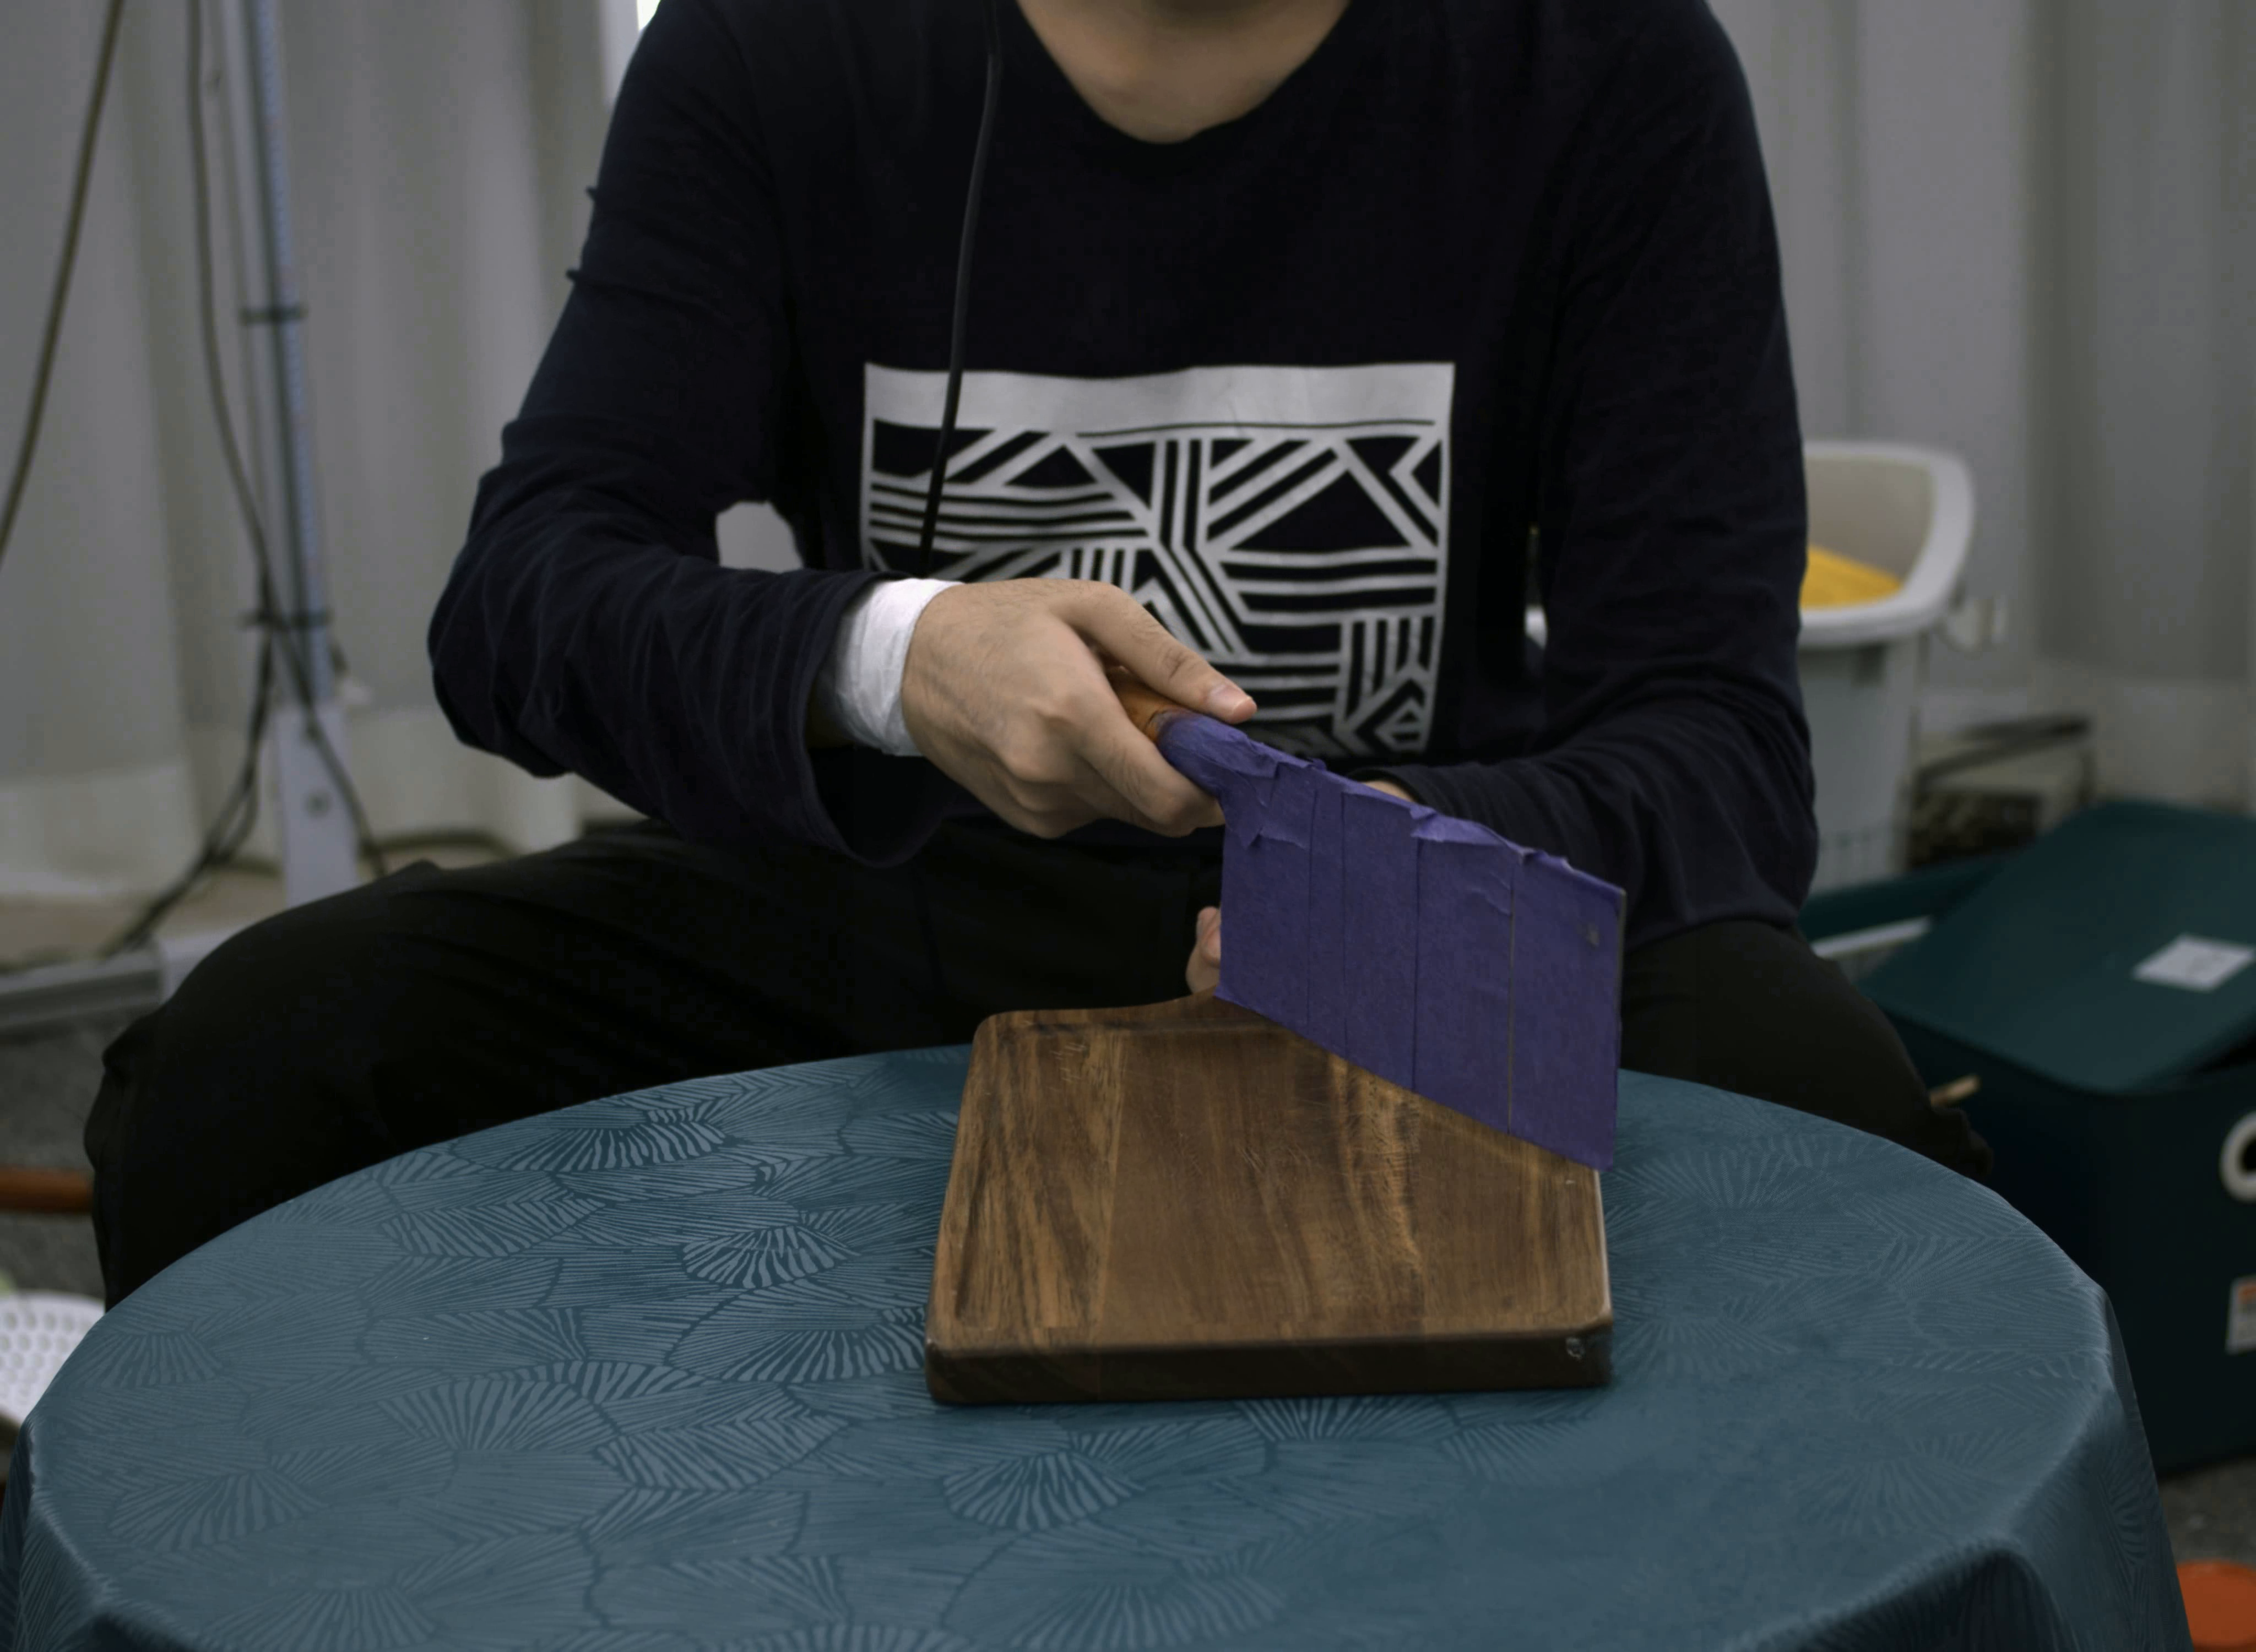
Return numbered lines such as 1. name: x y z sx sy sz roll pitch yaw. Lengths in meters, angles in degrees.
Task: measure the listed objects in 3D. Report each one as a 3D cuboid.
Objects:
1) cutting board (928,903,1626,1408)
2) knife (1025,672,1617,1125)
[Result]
1. cutting board: 0.046 0.091 1.694 0.200 0.023 0.355 -2 20 3
2. knife: 0.055 0.022 1.715 0.032 0.103 0.317 -5 14 -29
